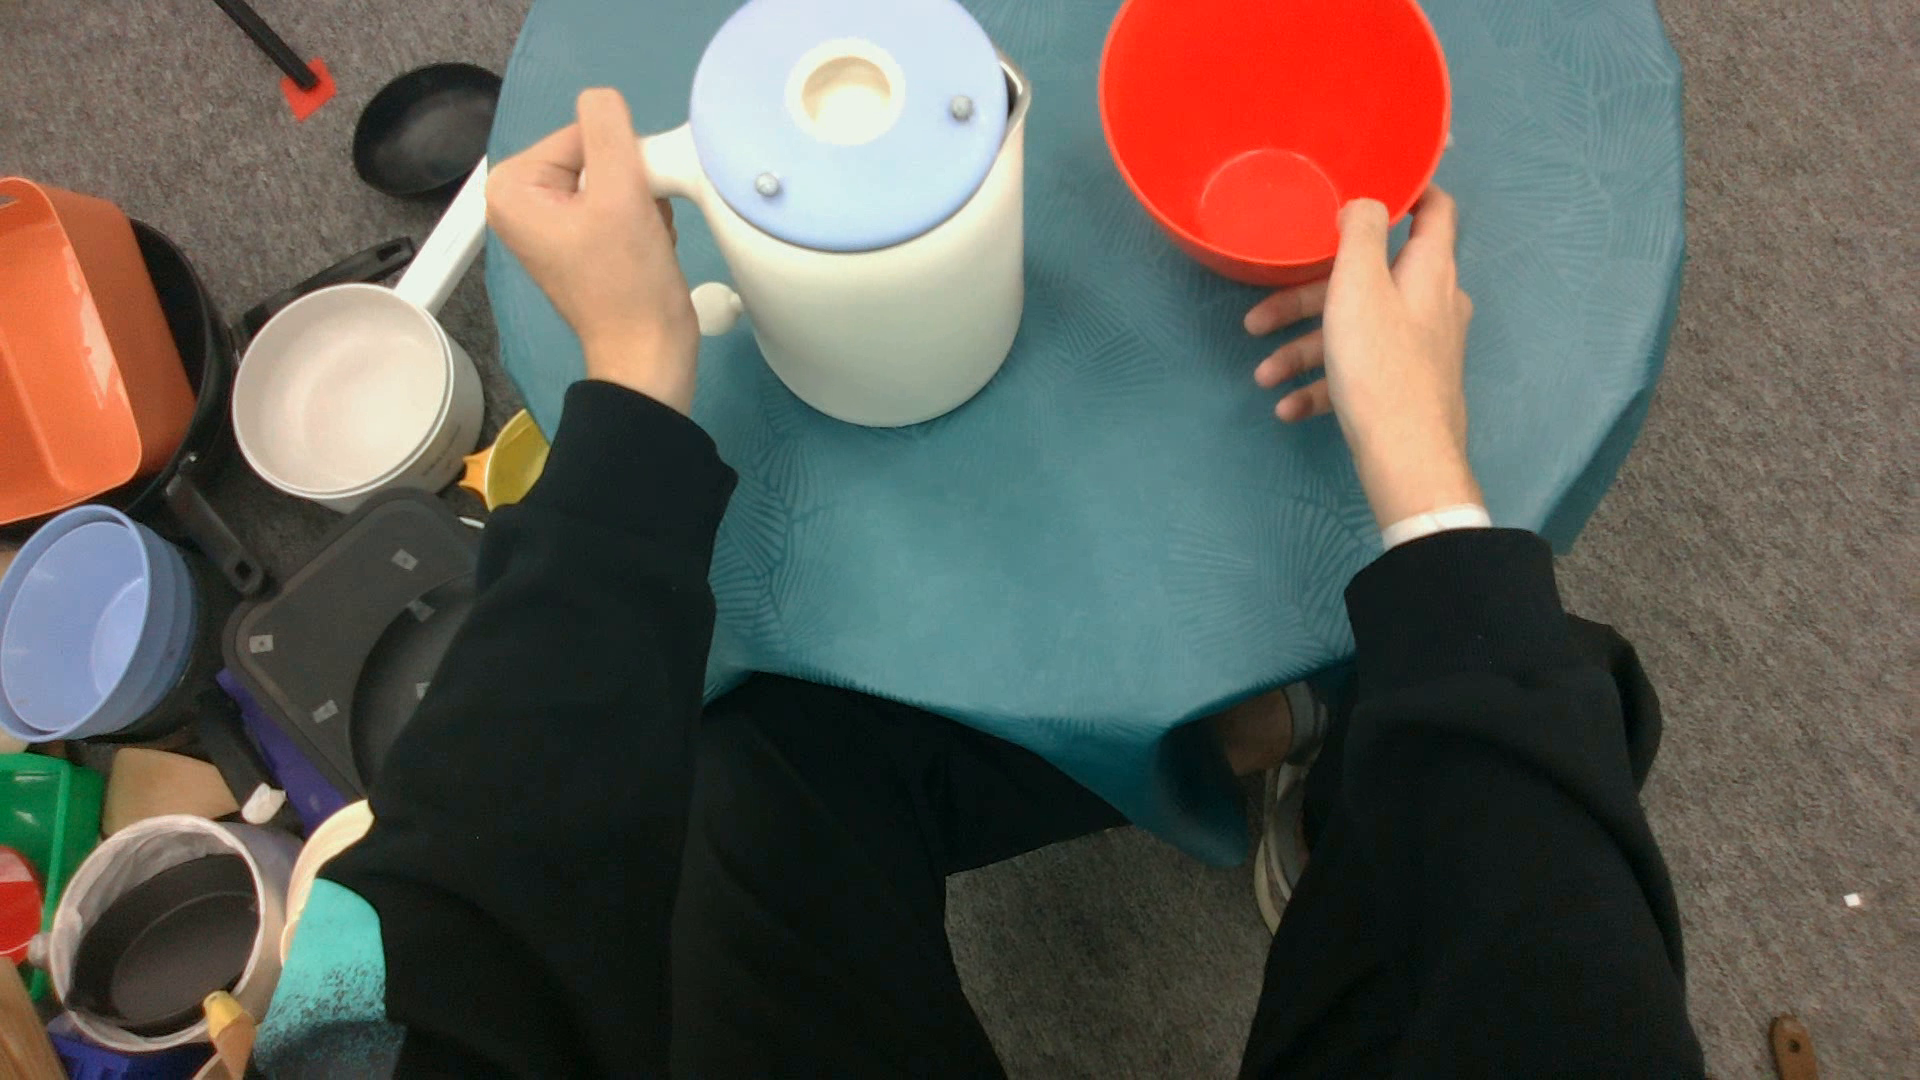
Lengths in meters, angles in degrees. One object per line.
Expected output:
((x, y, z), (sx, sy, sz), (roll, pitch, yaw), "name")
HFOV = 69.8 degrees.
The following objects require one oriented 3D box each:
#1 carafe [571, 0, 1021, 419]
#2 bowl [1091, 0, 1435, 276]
((-0.066, -0.137, 0.591), (0.191, 0.182, 0.132), (-9, 72, 1), "carafe")
((0.134, -0.184, 0.629), (0.148, 0.104, 0.148), (-1, 73, 5), "bowl")
